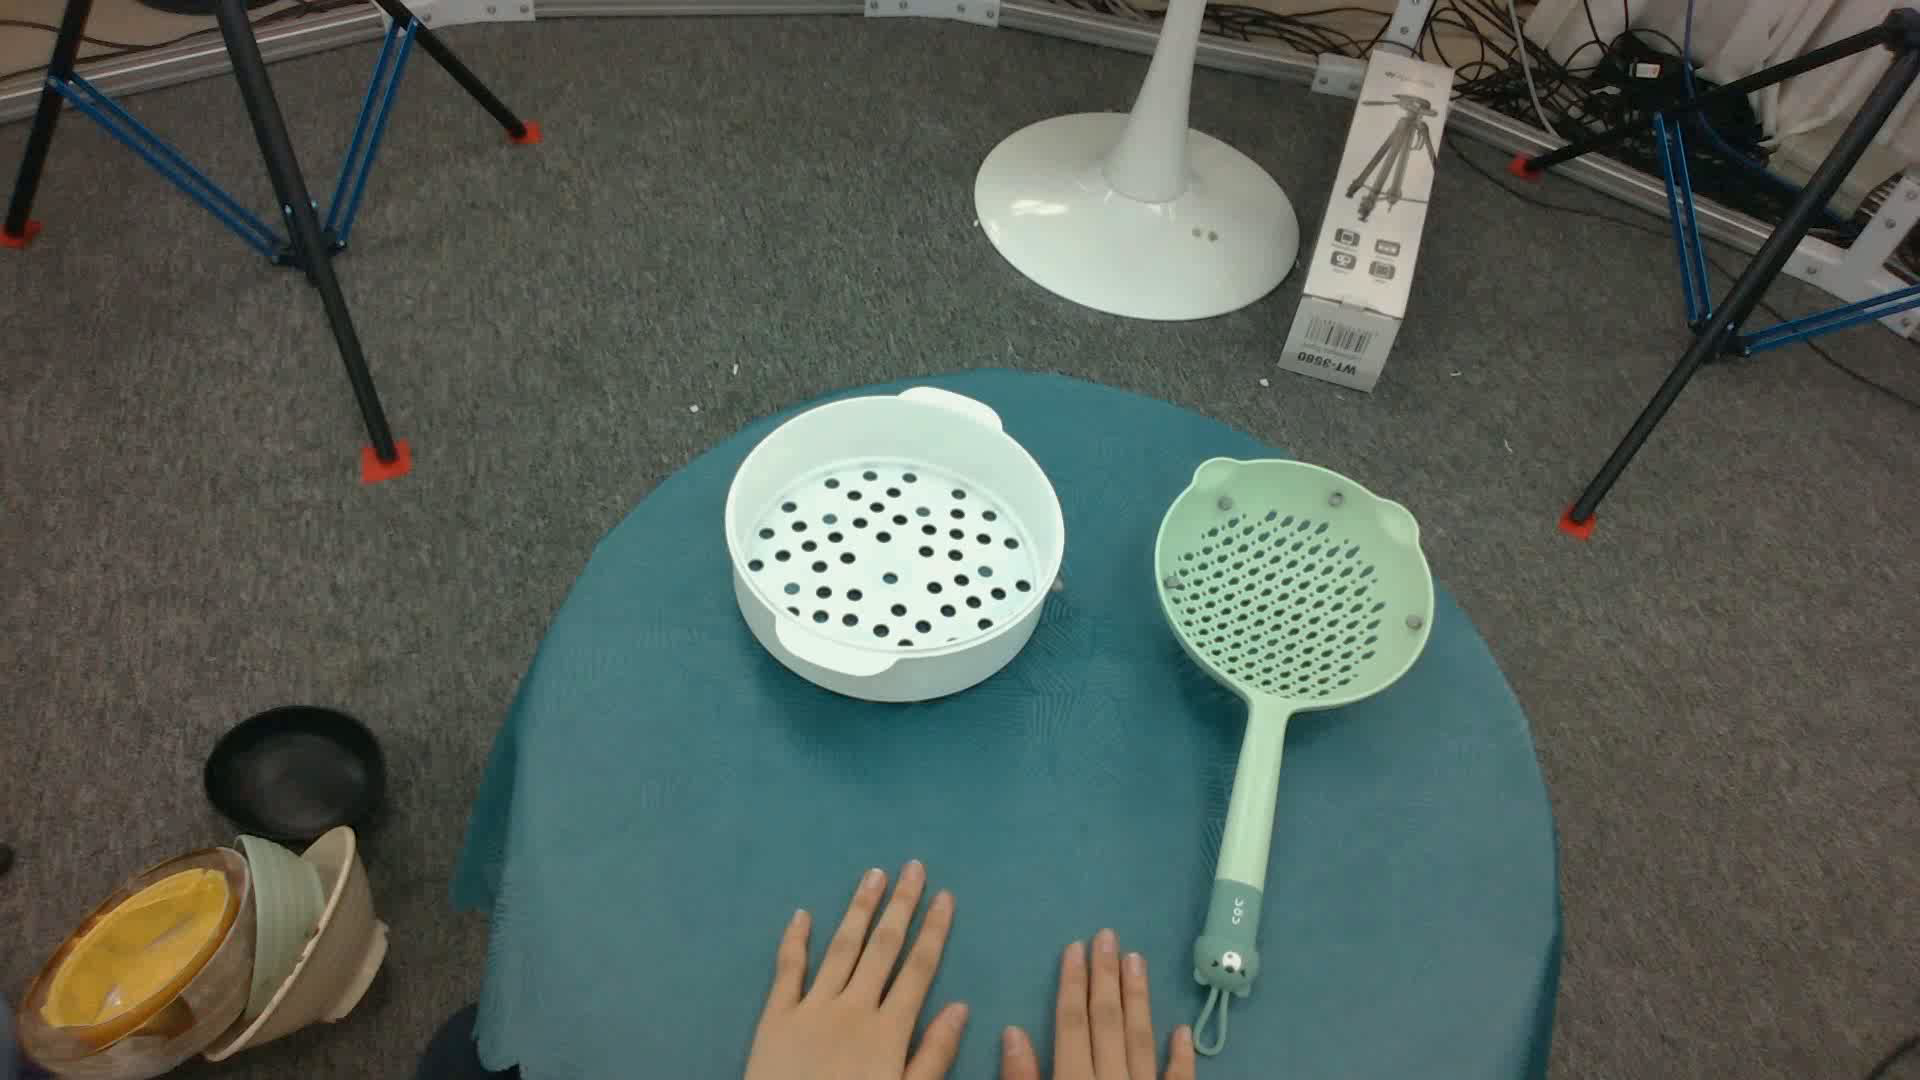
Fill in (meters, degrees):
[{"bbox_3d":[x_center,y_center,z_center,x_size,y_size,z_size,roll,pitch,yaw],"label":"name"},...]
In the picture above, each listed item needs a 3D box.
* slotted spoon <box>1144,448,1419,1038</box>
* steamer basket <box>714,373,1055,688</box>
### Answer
[{"bbox_3d":[0.167,0.100,0.788,0.169,0.075,0.361,16,50,4],"label":"slotted spoon"},{"bbox_3d":[-0.047,-0.003,0.839,0.202,0.069,0.232,17,50,6],"label":"steamer basket"}]
